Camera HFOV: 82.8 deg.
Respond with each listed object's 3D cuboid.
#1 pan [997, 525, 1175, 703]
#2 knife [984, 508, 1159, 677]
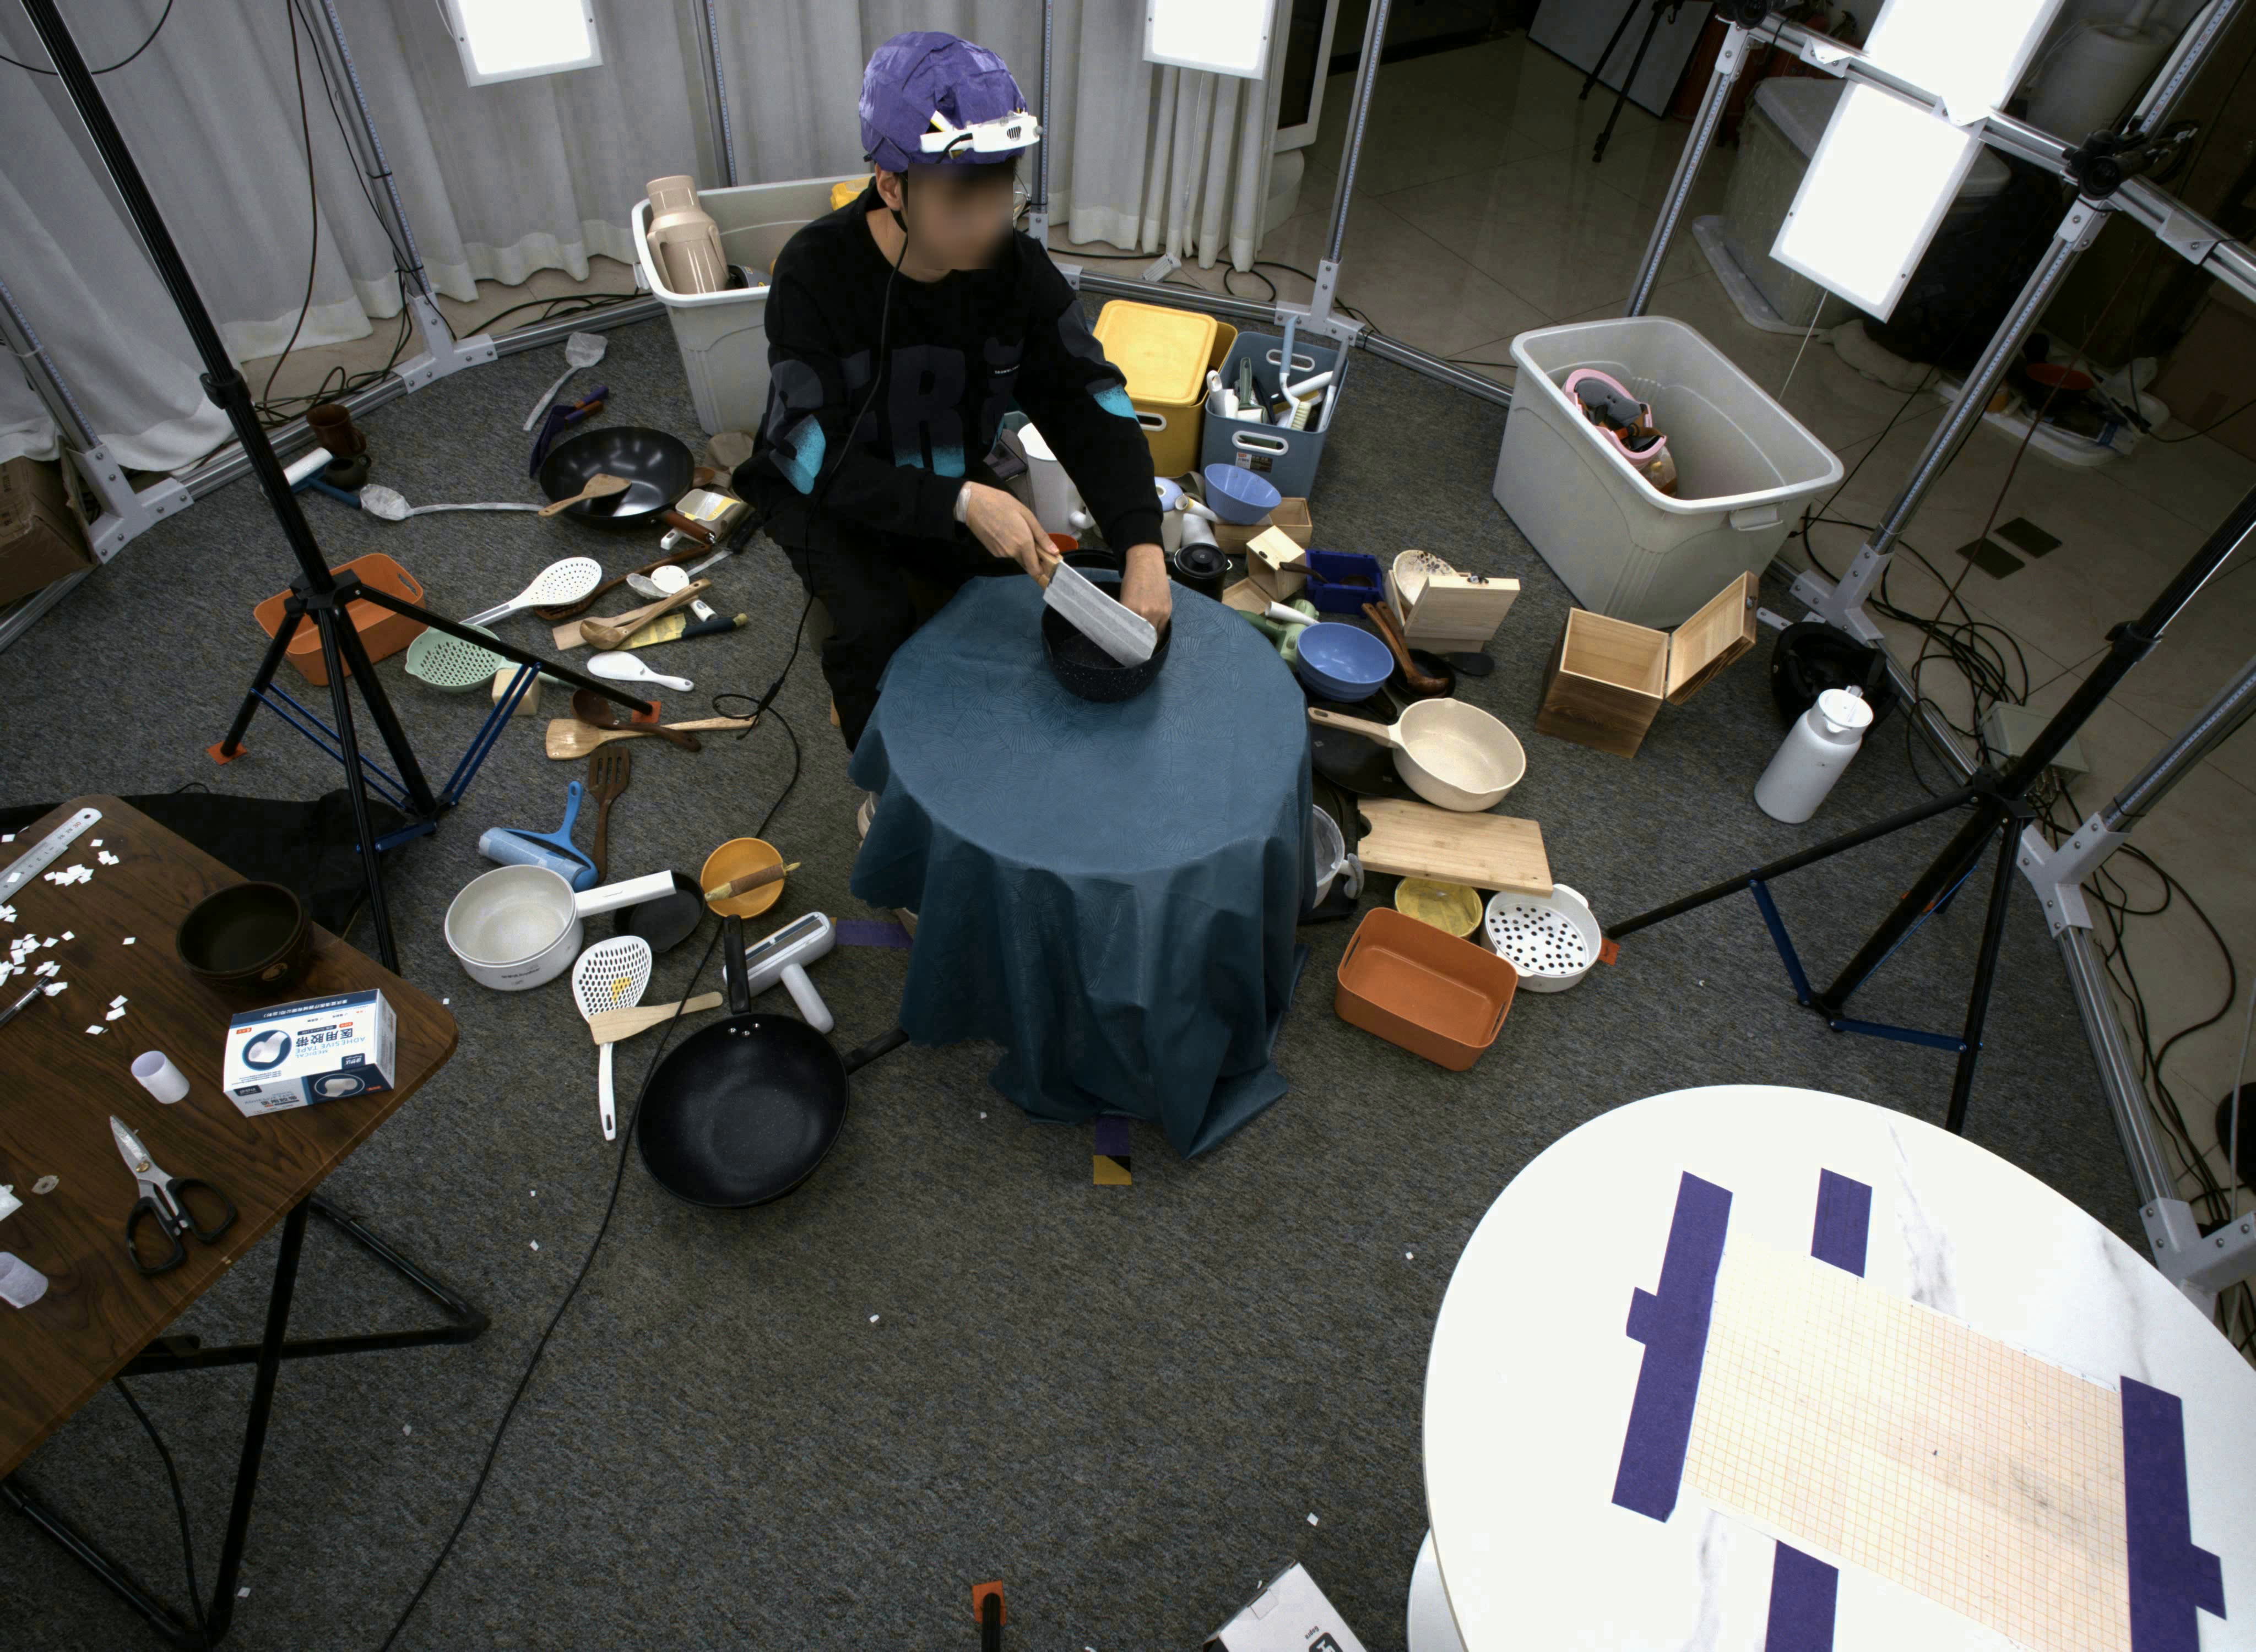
[{"bbox_3d":[-0.081,-0.312,1.864,0.209,0.105,0.348,-34,60,-27],"label":"pan"},{"bbox_3d":[-0.078,-0.331,1.782,0.317,0.112,0.022,42,53,7],"label":"knife"}]
